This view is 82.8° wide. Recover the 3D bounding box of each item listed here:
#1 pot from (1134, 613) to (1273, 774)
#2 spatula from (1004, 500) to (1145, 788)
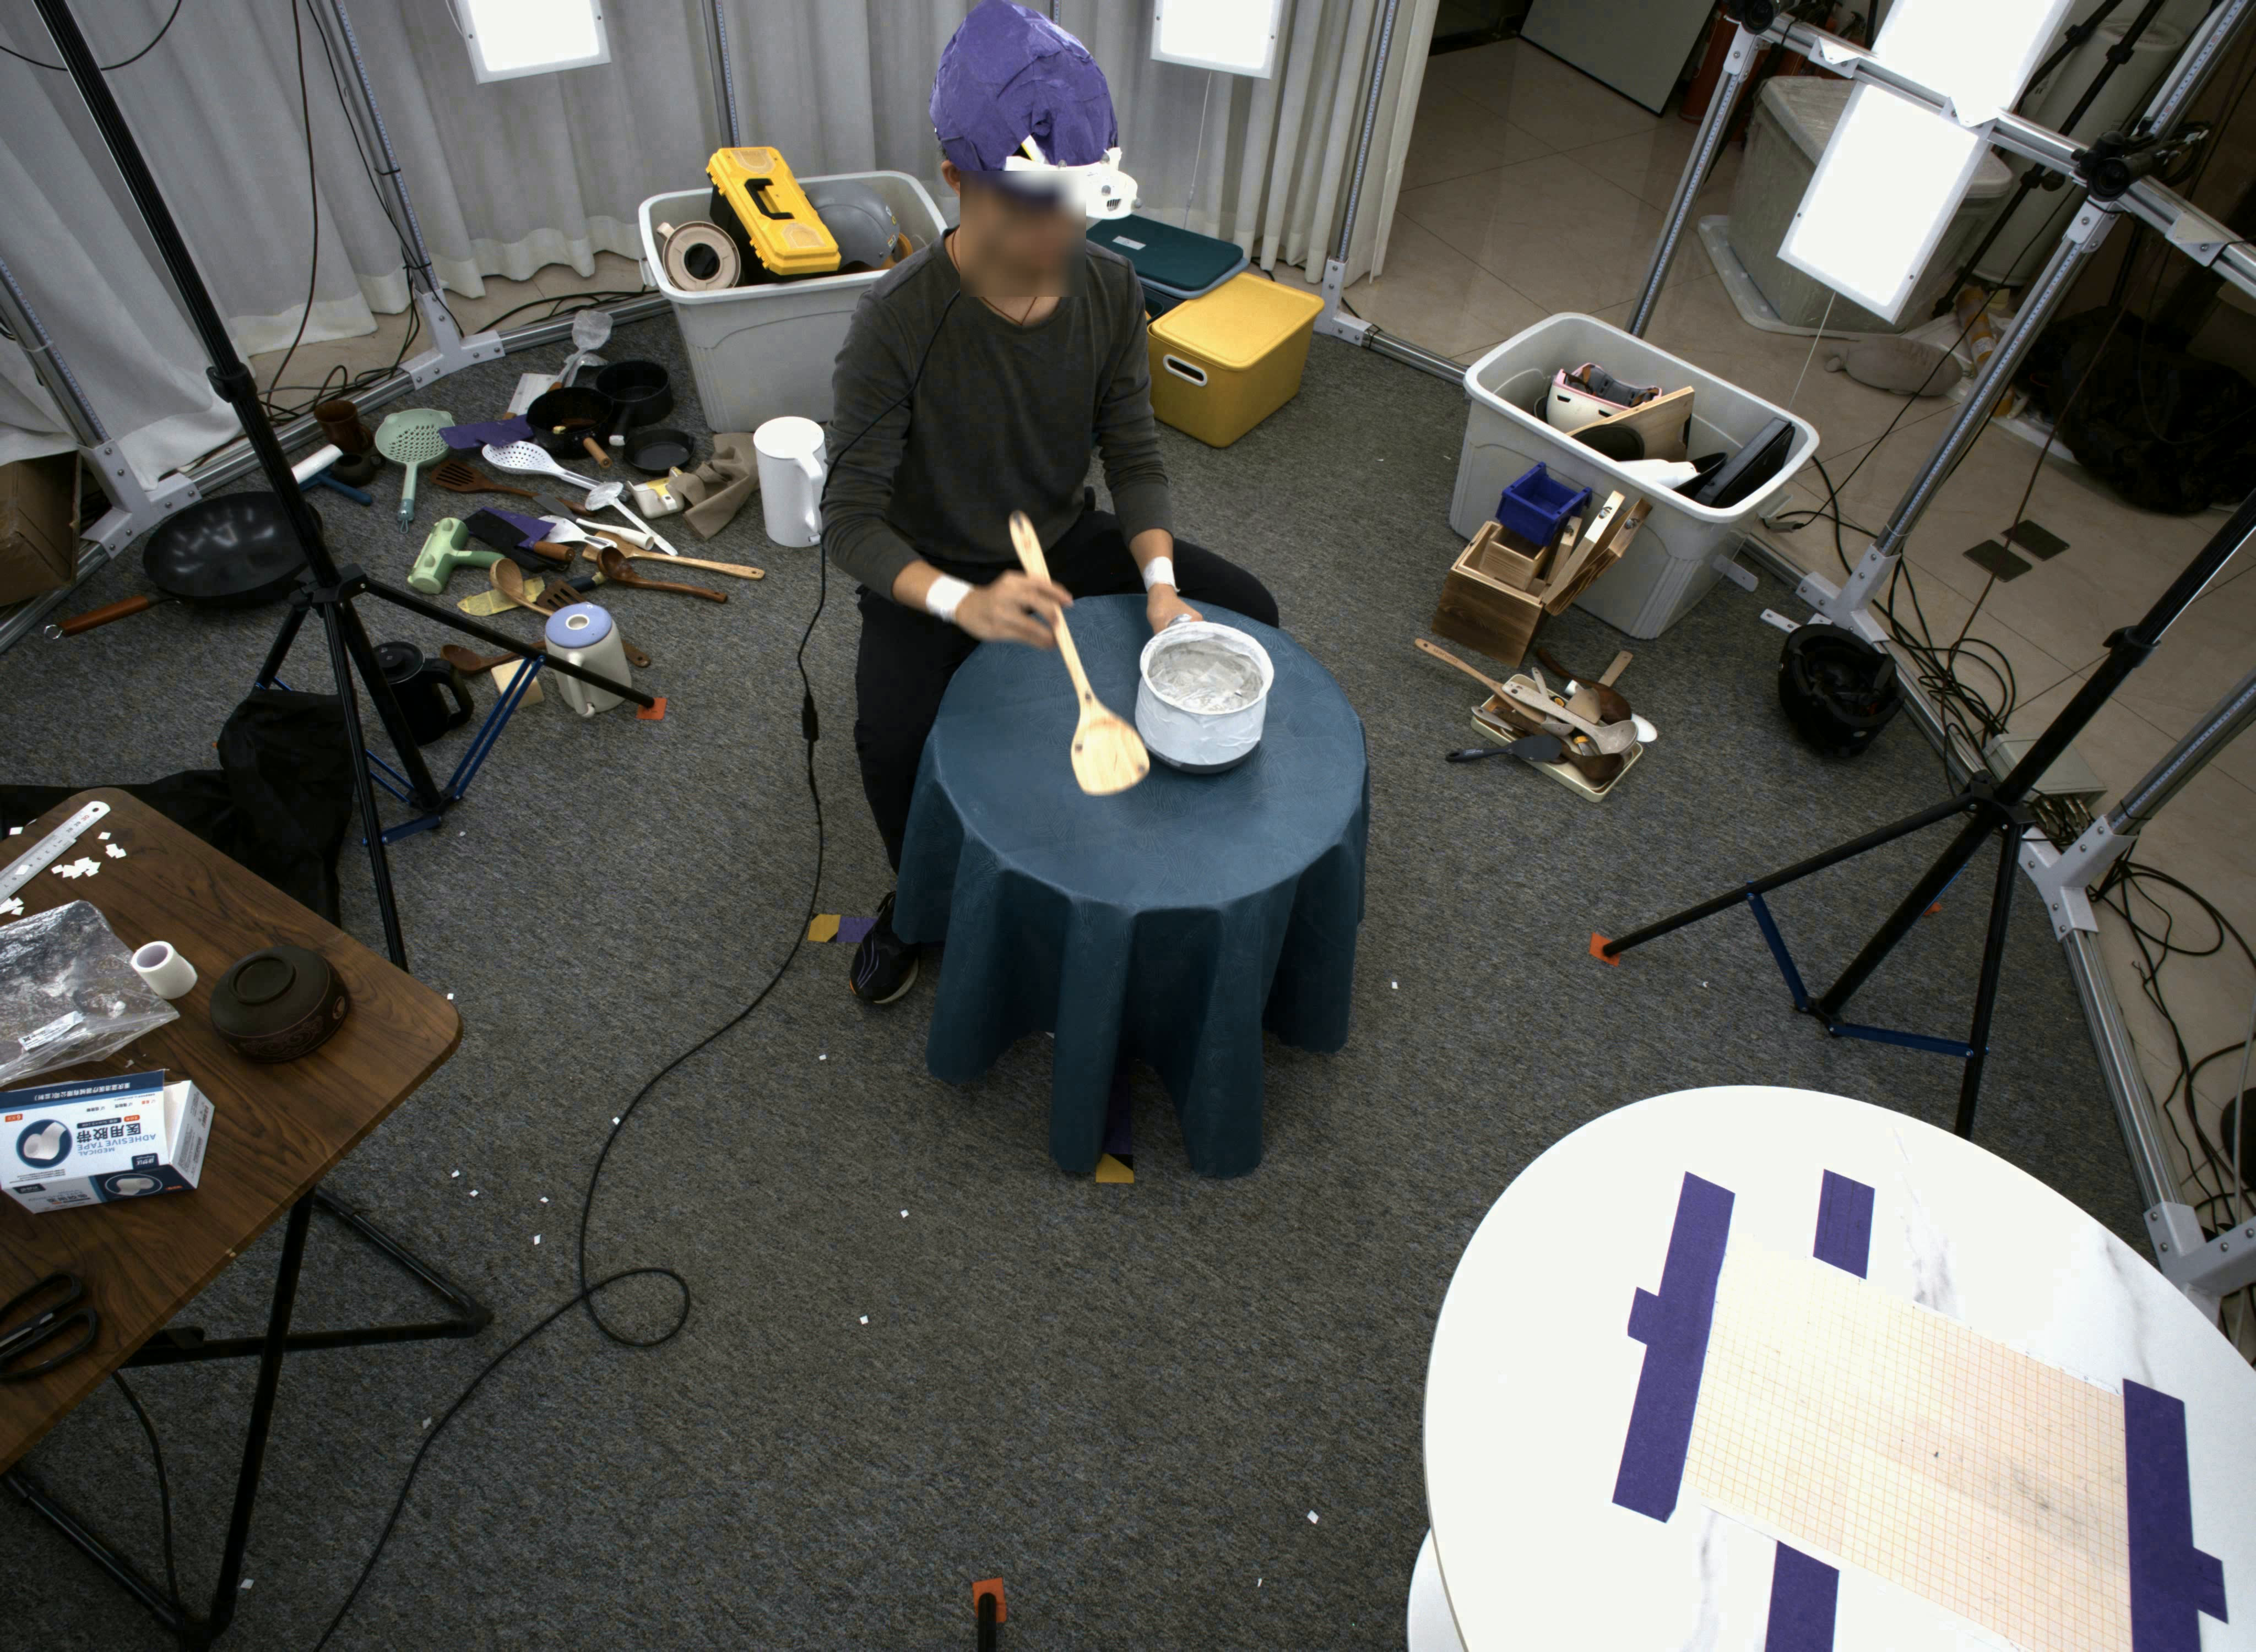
[{"bbox_3d":[0.091,-0.190,1.750,0.178,0.133,0.239,-10,51,-13],"label":"pot"},{"bbox_3d":[-0.084,-0.230,1.595,0.096,0.018,0.394,-20,79,-7],"label":"spatula"}]
